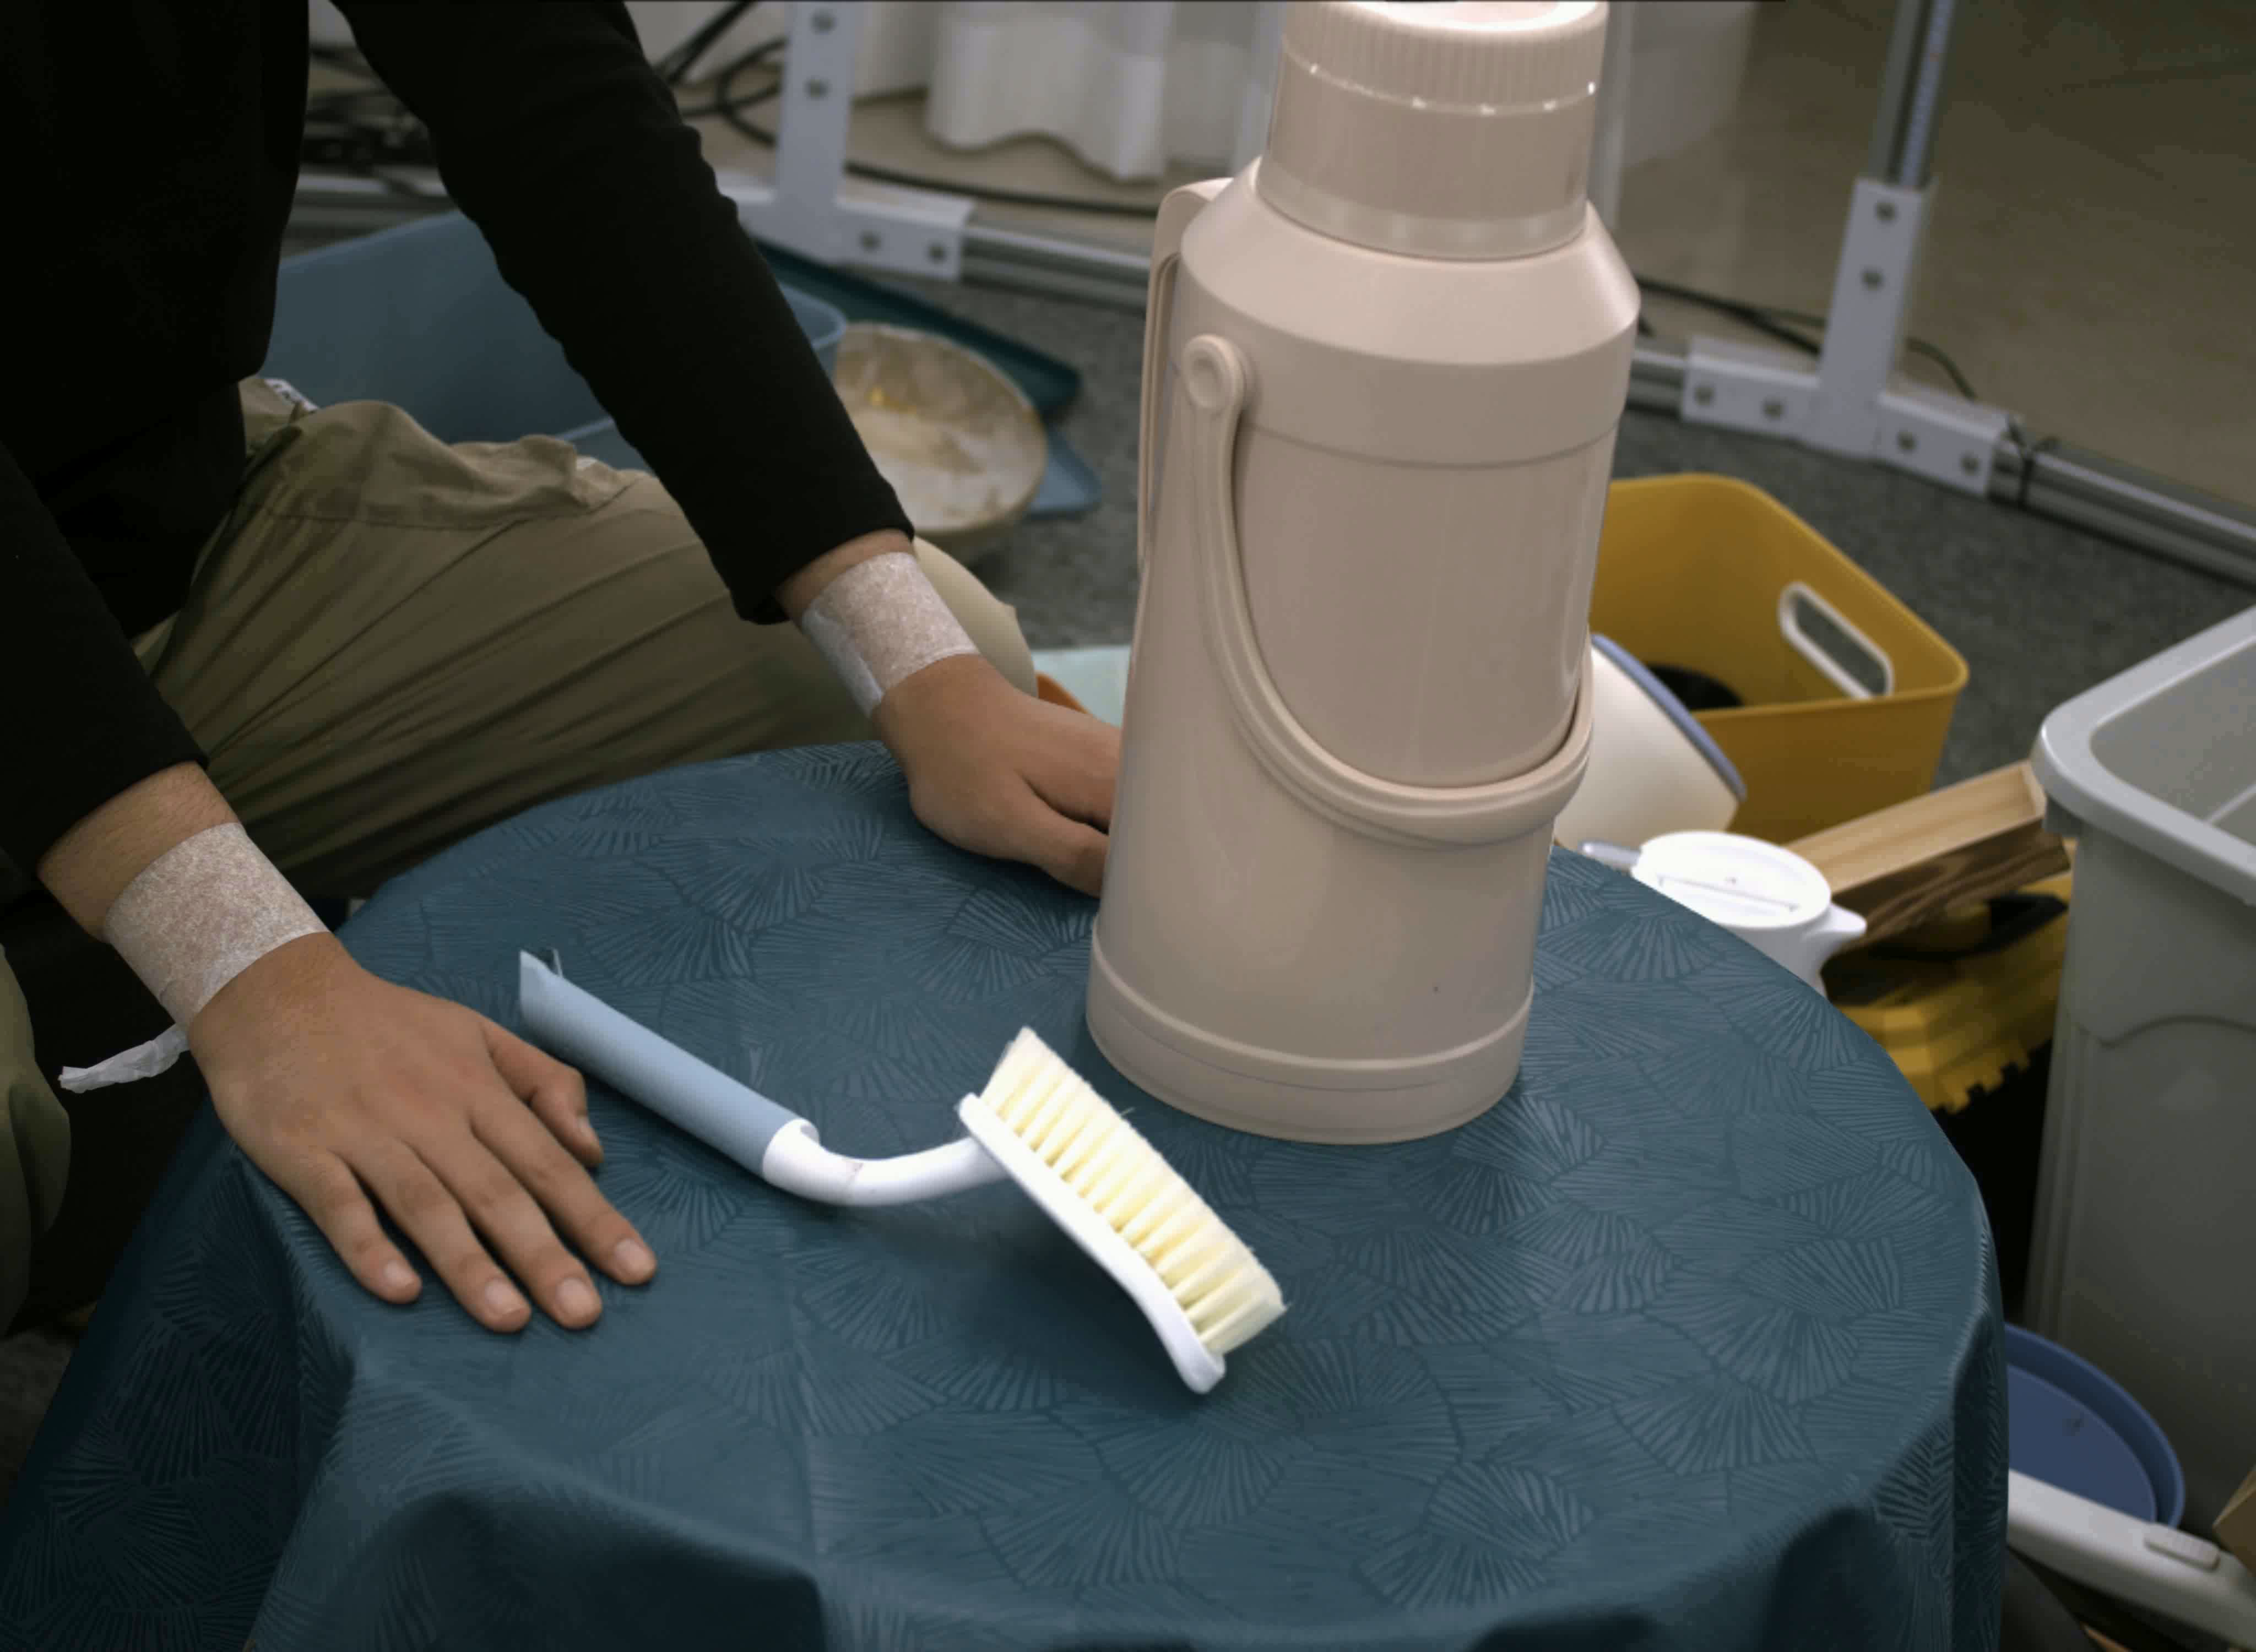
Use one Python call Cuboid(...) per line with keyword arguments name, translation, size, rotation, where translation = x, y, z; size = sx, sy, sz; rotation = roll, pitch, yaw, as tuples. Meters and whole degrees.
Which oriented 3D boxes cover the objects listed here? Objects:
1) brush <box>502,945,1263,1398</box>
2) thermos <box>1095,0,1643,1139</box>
Cuboid(name="brush", translation=(-0.080, 0.085, 1.772), size=(0.328, 0.083, 0.084), rotation=(28, 38, 33))
Cuboid(name="thermos", translation=(0.077, -0.108, 1.837), size=(0.174, 0.405, 0.209), rotation=(-17, 35, -36))
